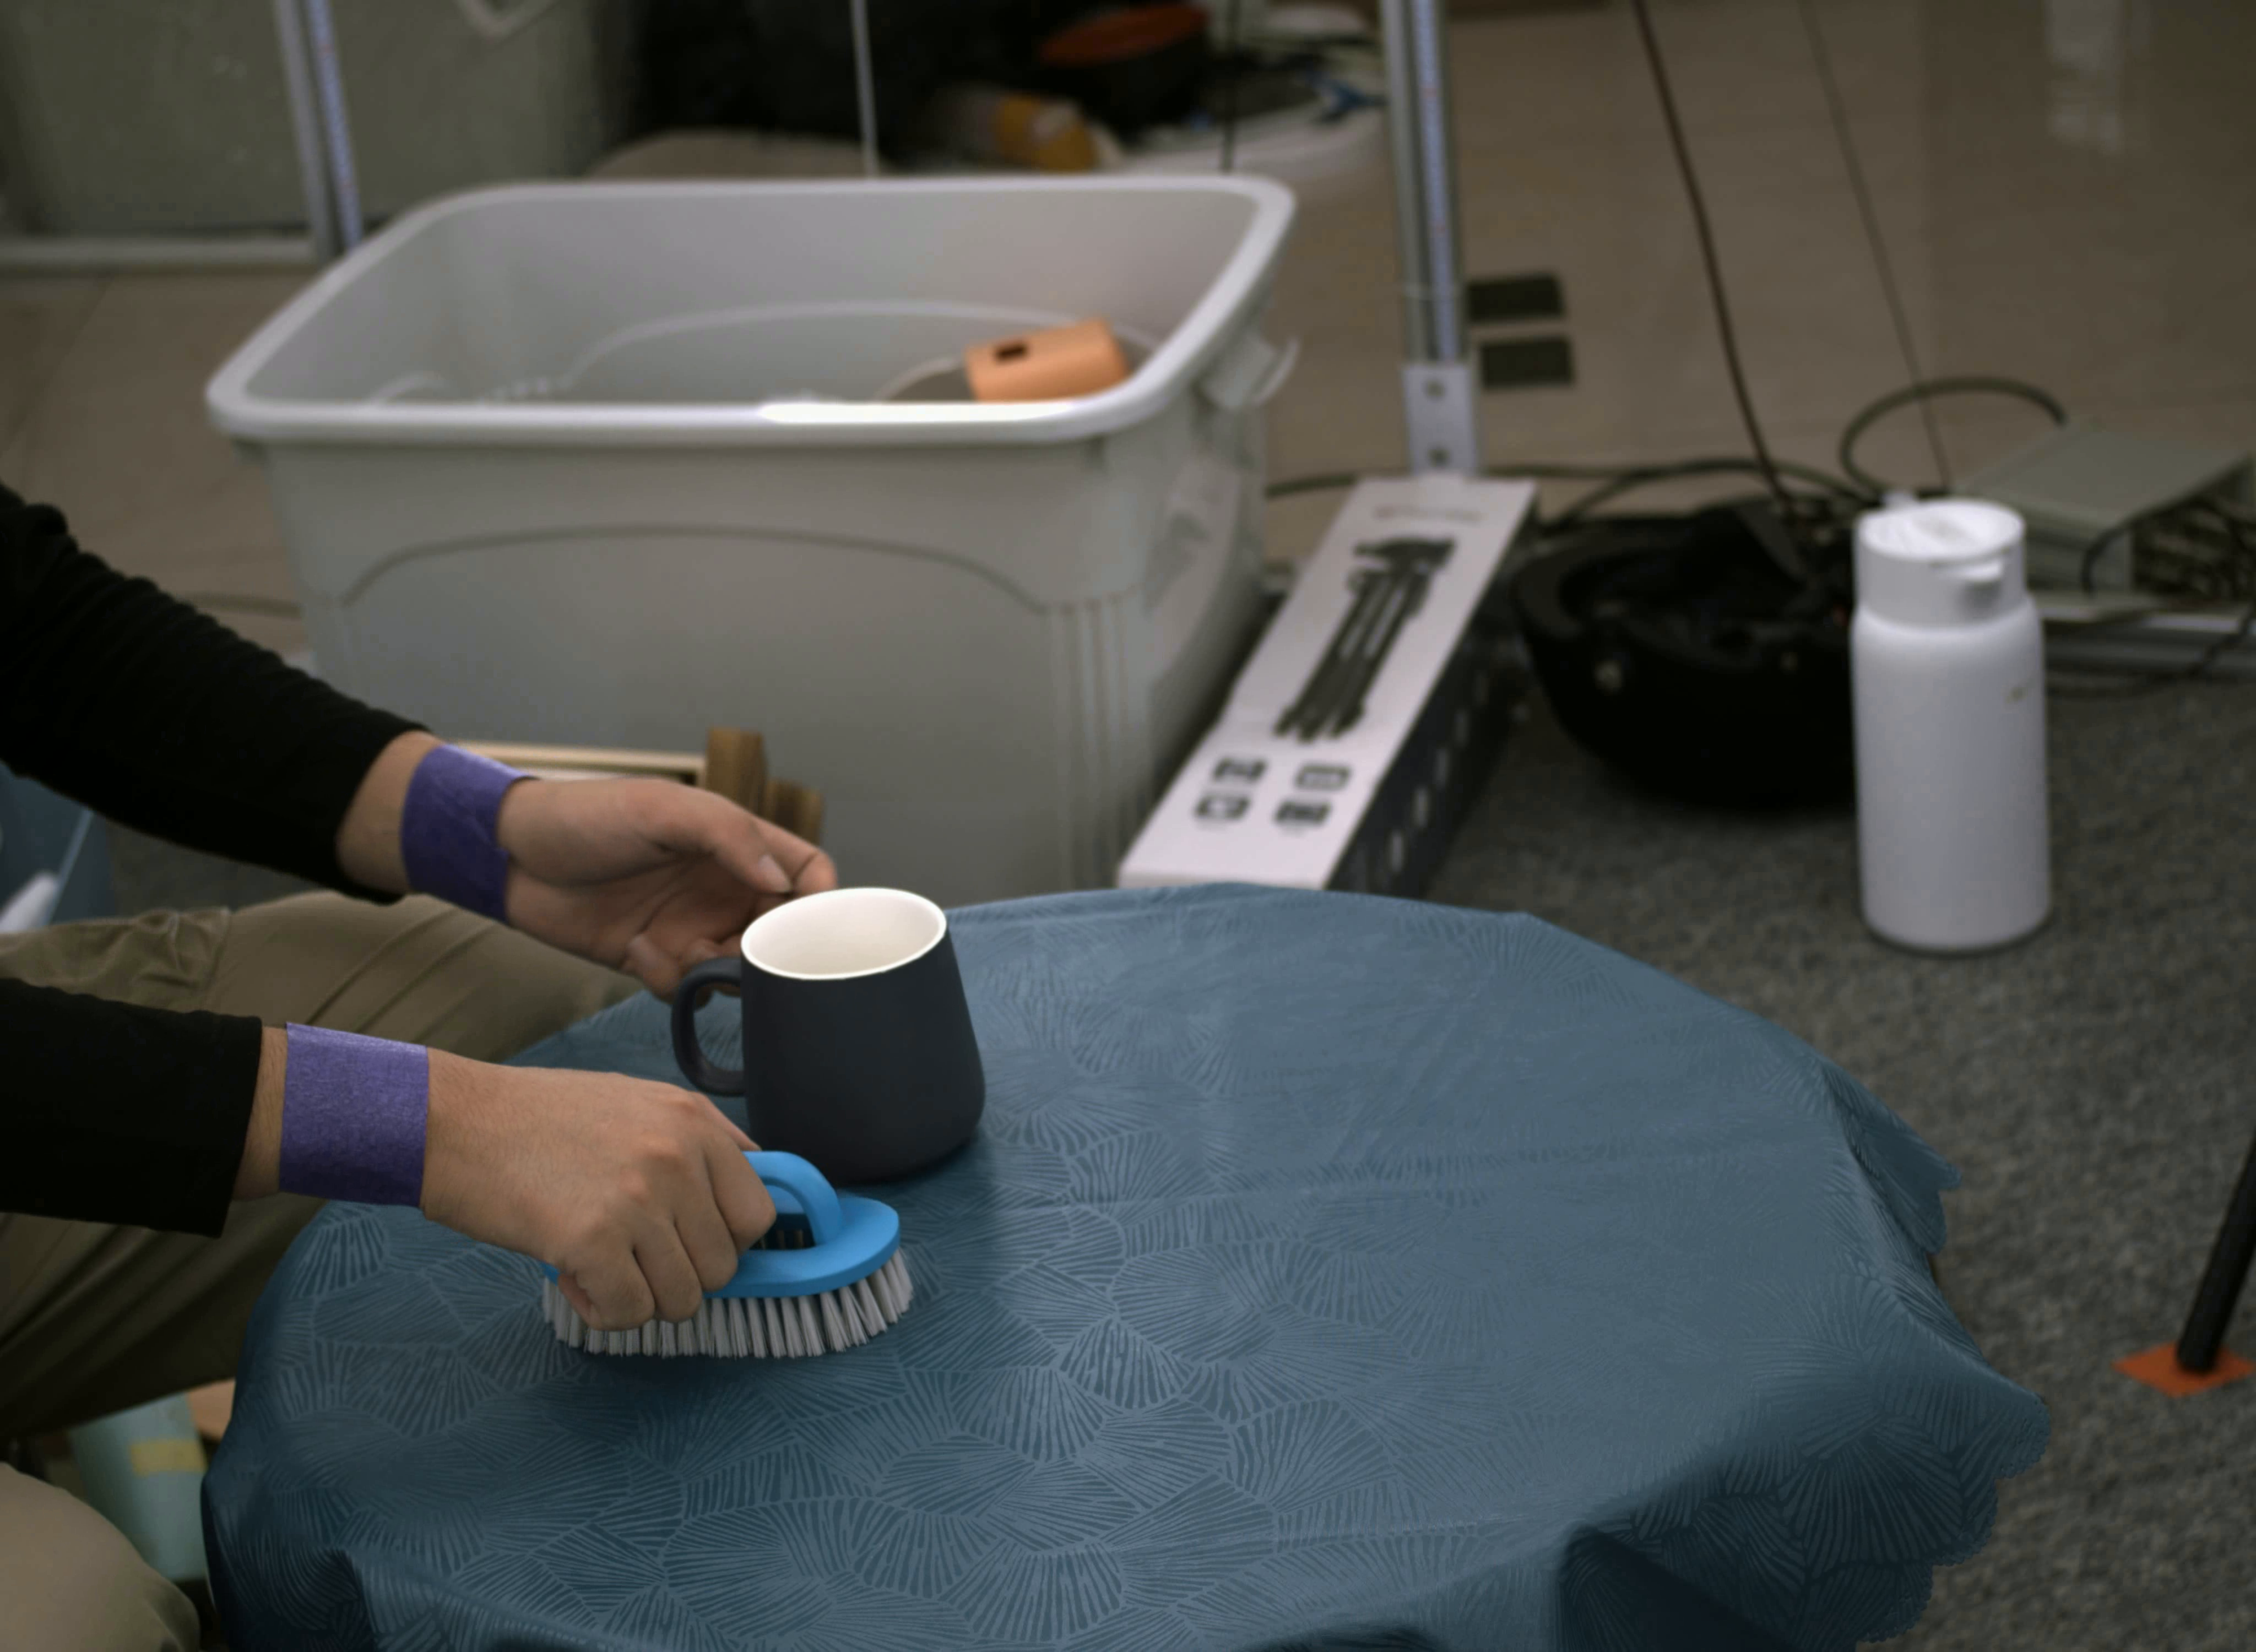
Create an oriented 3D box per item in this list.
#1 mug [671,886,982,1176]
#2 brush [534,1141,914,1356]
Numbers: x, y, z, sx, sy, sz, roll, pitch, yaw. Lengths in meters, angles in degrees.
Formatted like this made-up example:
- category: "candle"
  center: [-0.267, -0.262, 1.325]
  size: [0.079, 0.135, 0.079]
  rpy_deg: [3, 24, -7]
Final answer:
- category: "mug"
  center: [-0.119, 0.078, 2.192]
  size: [0.123, 0.091, 0.092]
  rpy_deg: [5, 27, 19]
- category: "brush"
  center: [-0.152, 0.147, 2.088]
  size: [0.141, 0.065, 0.083]
  rpy_deg: [-1, 30, 14]
